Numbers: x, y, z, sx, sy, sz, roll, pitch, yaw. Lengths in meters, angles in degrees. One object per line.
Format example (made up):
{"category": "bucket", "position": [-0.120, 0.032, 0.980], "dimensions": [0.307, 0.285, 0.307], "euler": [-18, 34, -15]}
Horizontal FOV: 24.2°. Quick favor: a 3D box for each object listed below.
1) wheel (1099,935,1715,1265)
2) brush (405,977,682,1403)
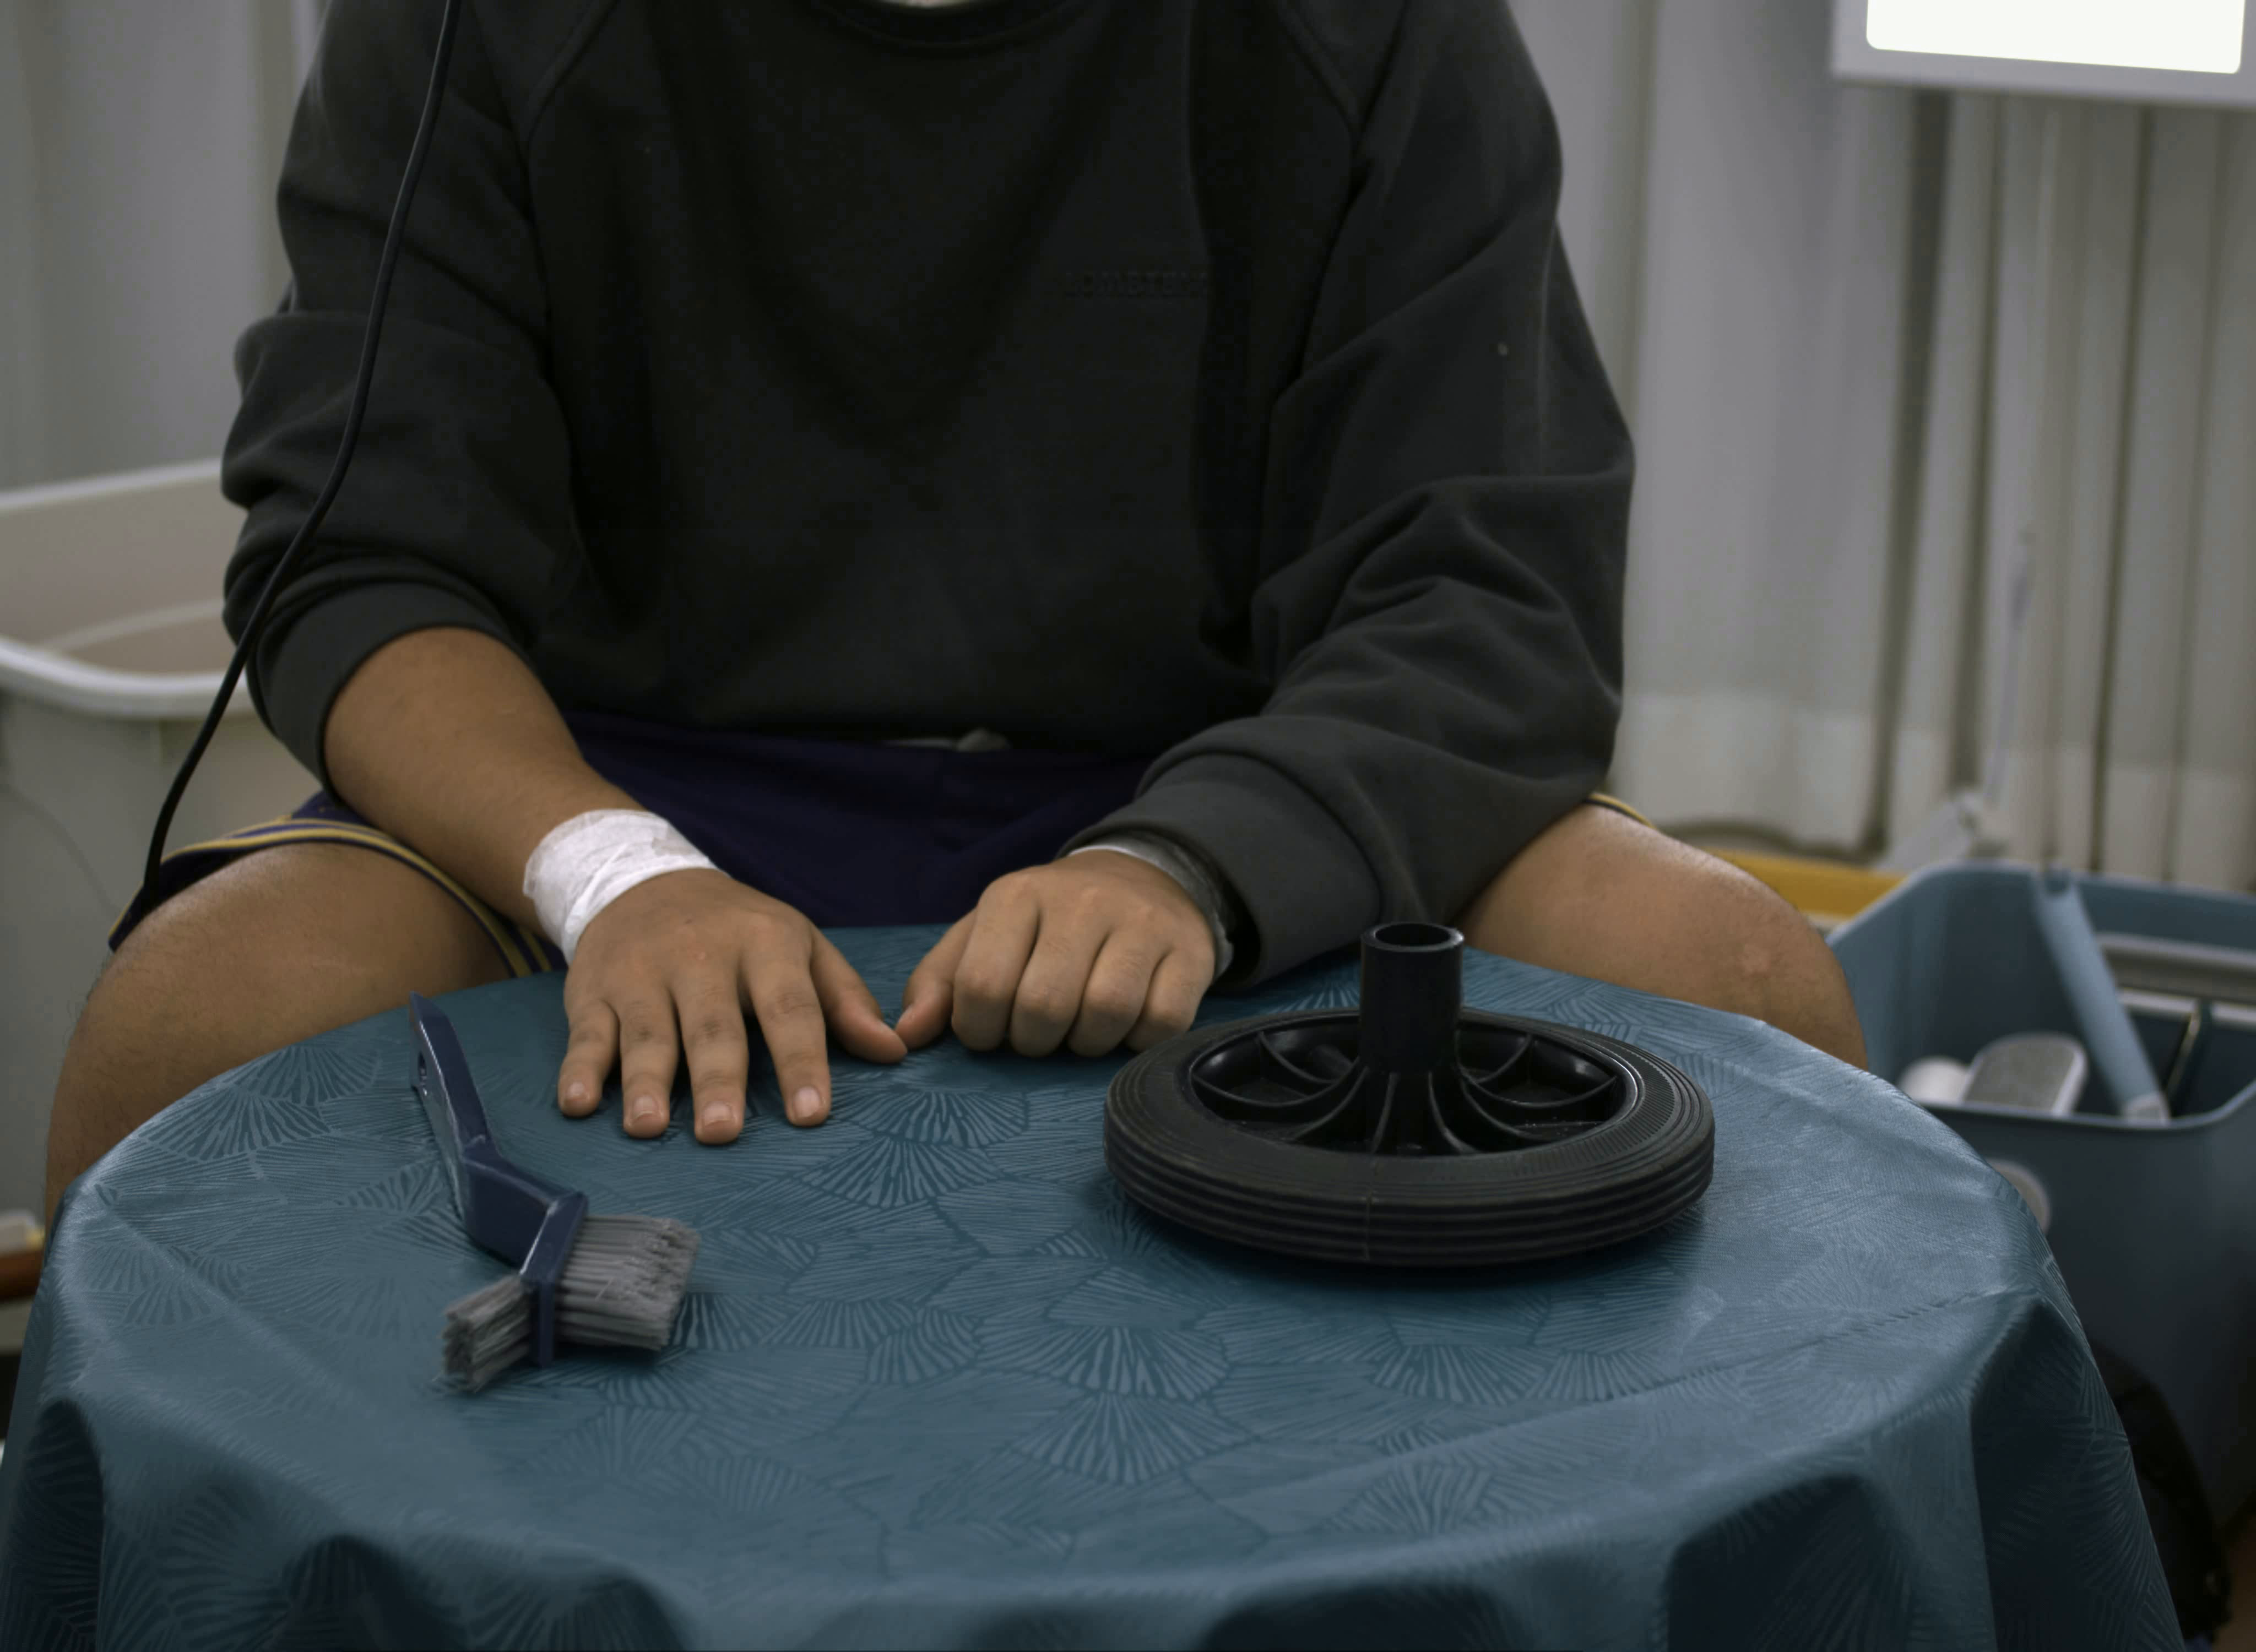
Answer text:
{"category": "wheel", "position": [0.086, 0.075, 1.615], "dimensions": [0.188, 0.080, 0.187], "euler": [-15, 21, -43]}
{"category": "brush", "position": [-0.201, 0.105, 1.583], "dimensions": [0.096, 0.034, 0.270], "euler": [-6, 18, -21]}
